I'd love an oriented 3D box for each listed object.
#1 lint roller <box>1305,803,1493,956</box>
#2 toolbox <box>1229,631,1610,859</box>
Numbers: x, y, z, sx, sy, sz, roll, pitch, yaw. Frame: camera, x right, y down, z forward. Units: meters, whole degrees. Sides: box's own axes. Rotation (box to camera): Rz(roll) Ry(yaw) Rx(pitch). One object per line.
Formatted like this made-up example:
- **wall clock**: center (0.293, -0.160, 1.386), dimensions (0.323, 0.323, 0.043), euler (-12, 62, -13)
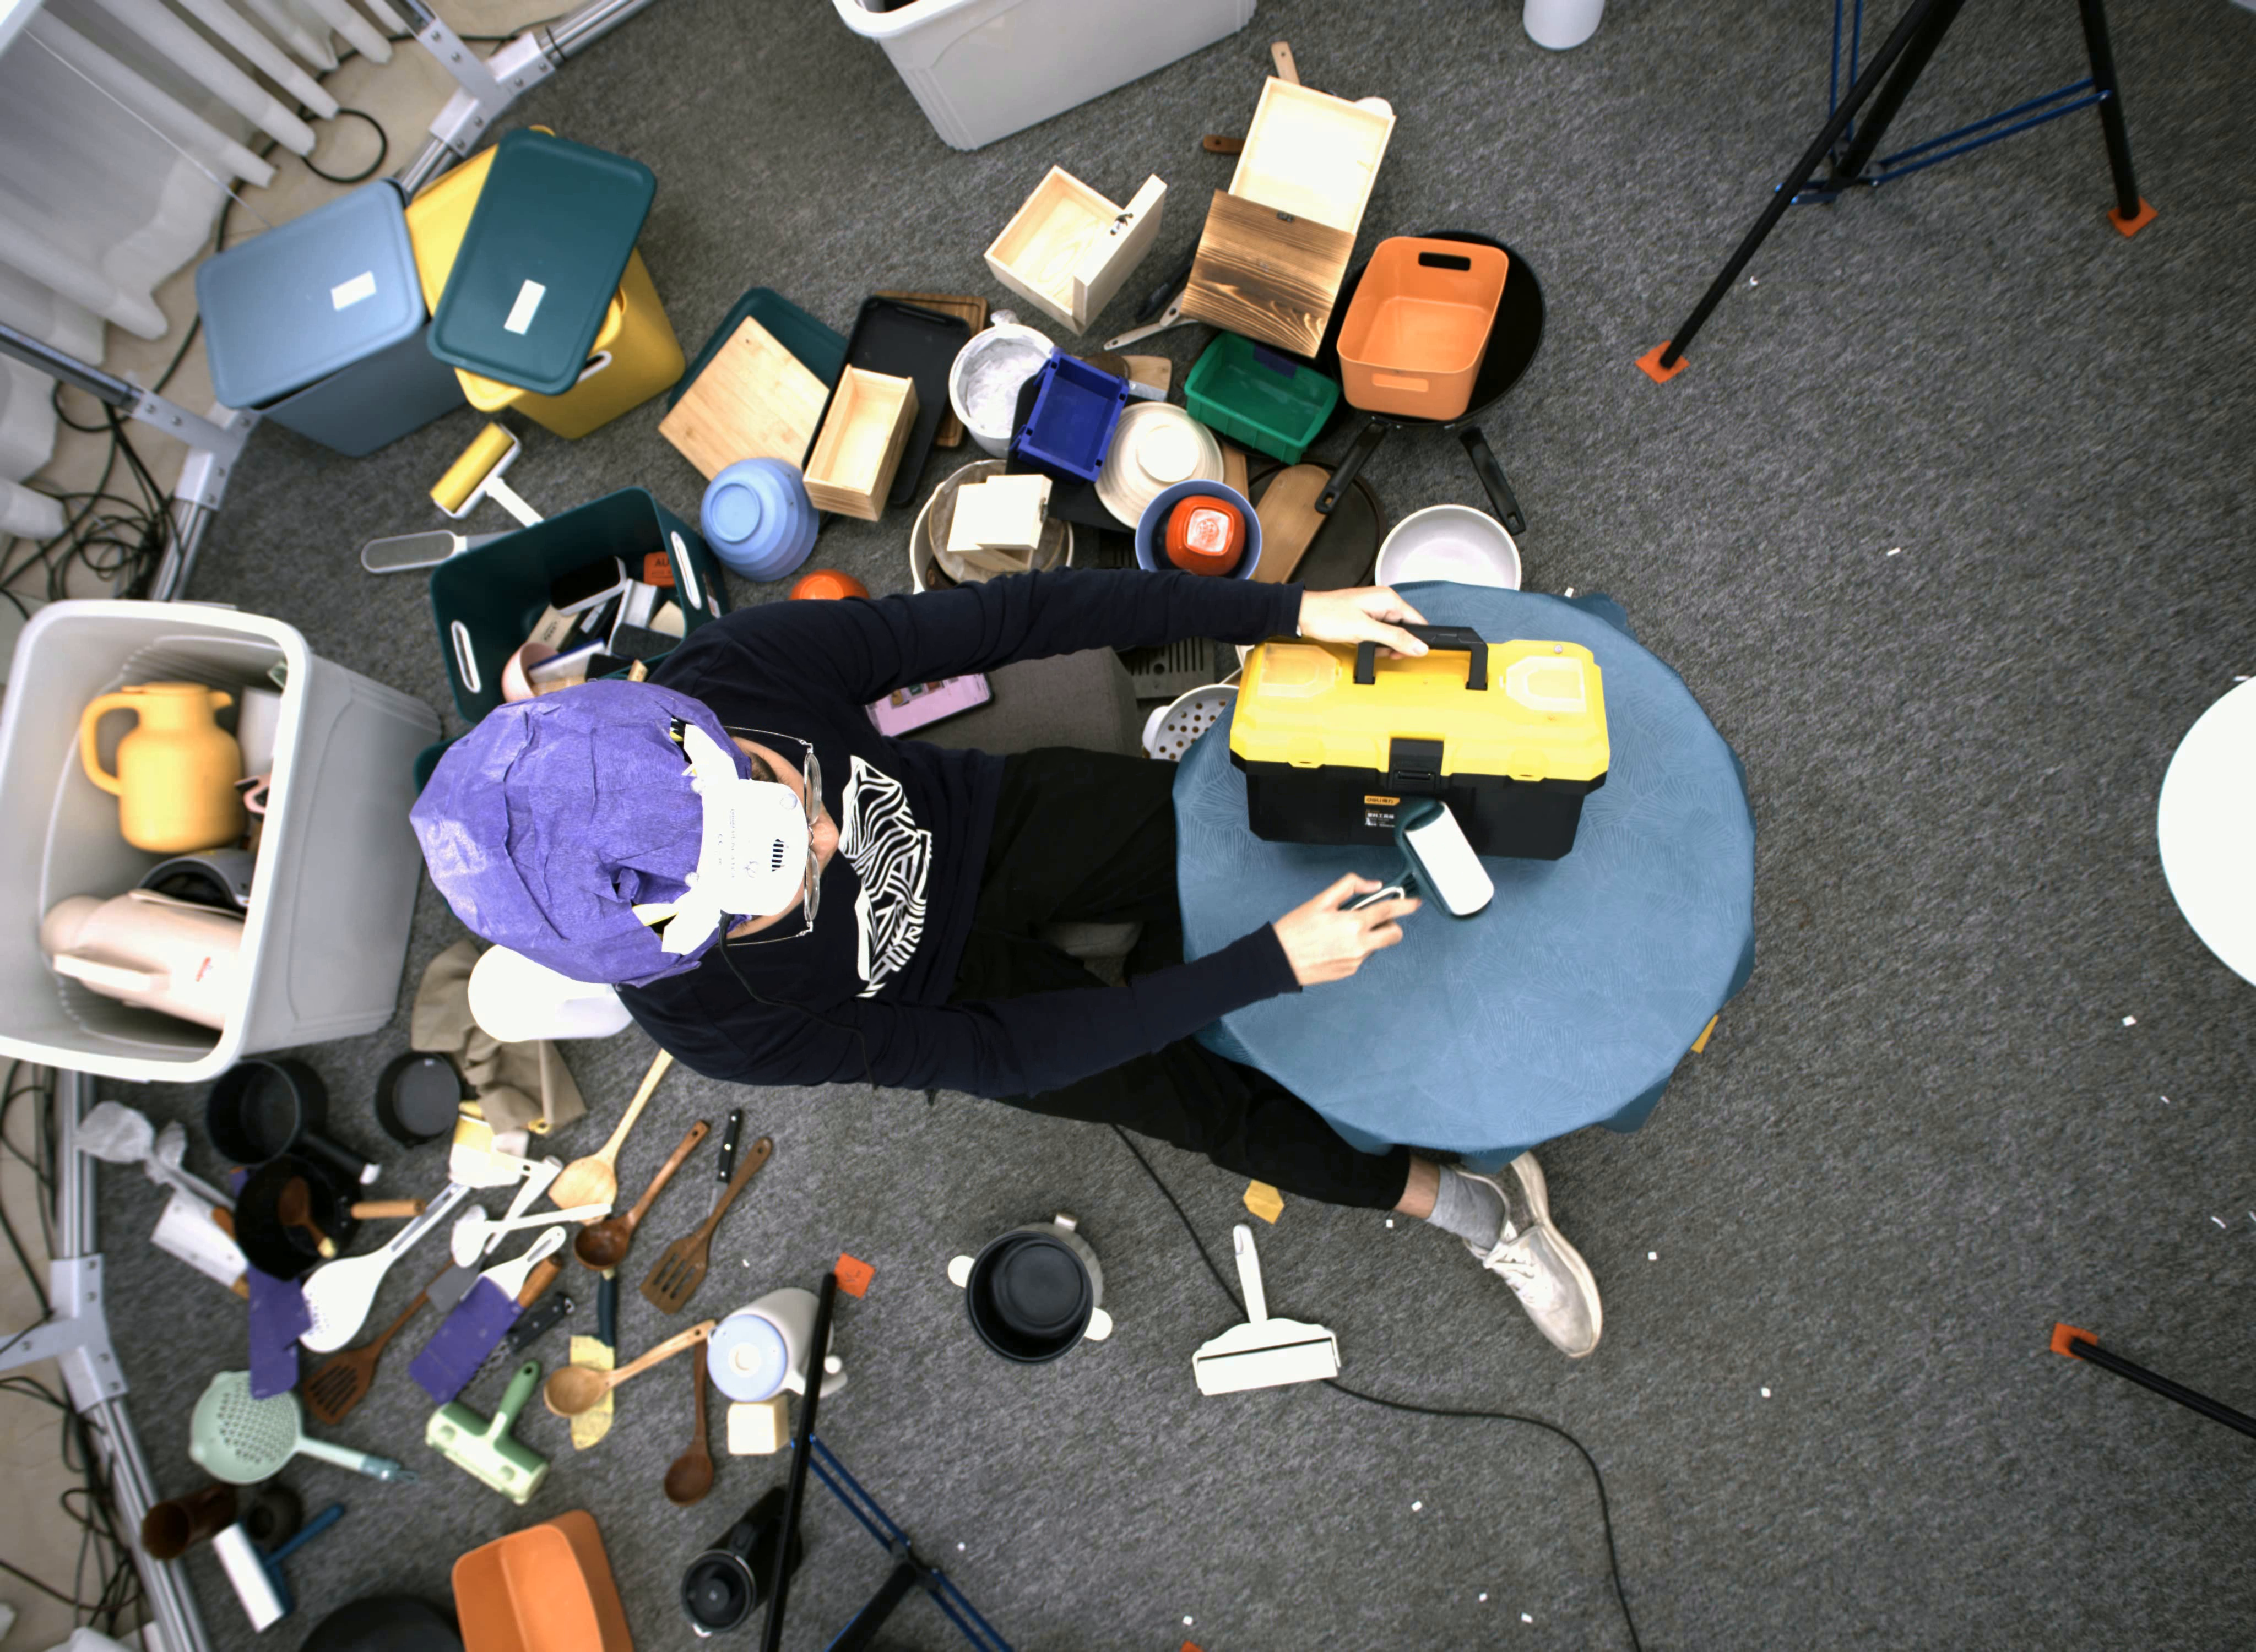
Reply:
- **lint roller**: center (0.249, 0.072, 1.307), dimensions (0.180, 0.047, 0.136), euler (-35, 112, 1)
- **toolbox**: center (0.283, -0.080, 1.359), dimensions (0.353, 0.177, 0.176), euler (3, 45, 11)
